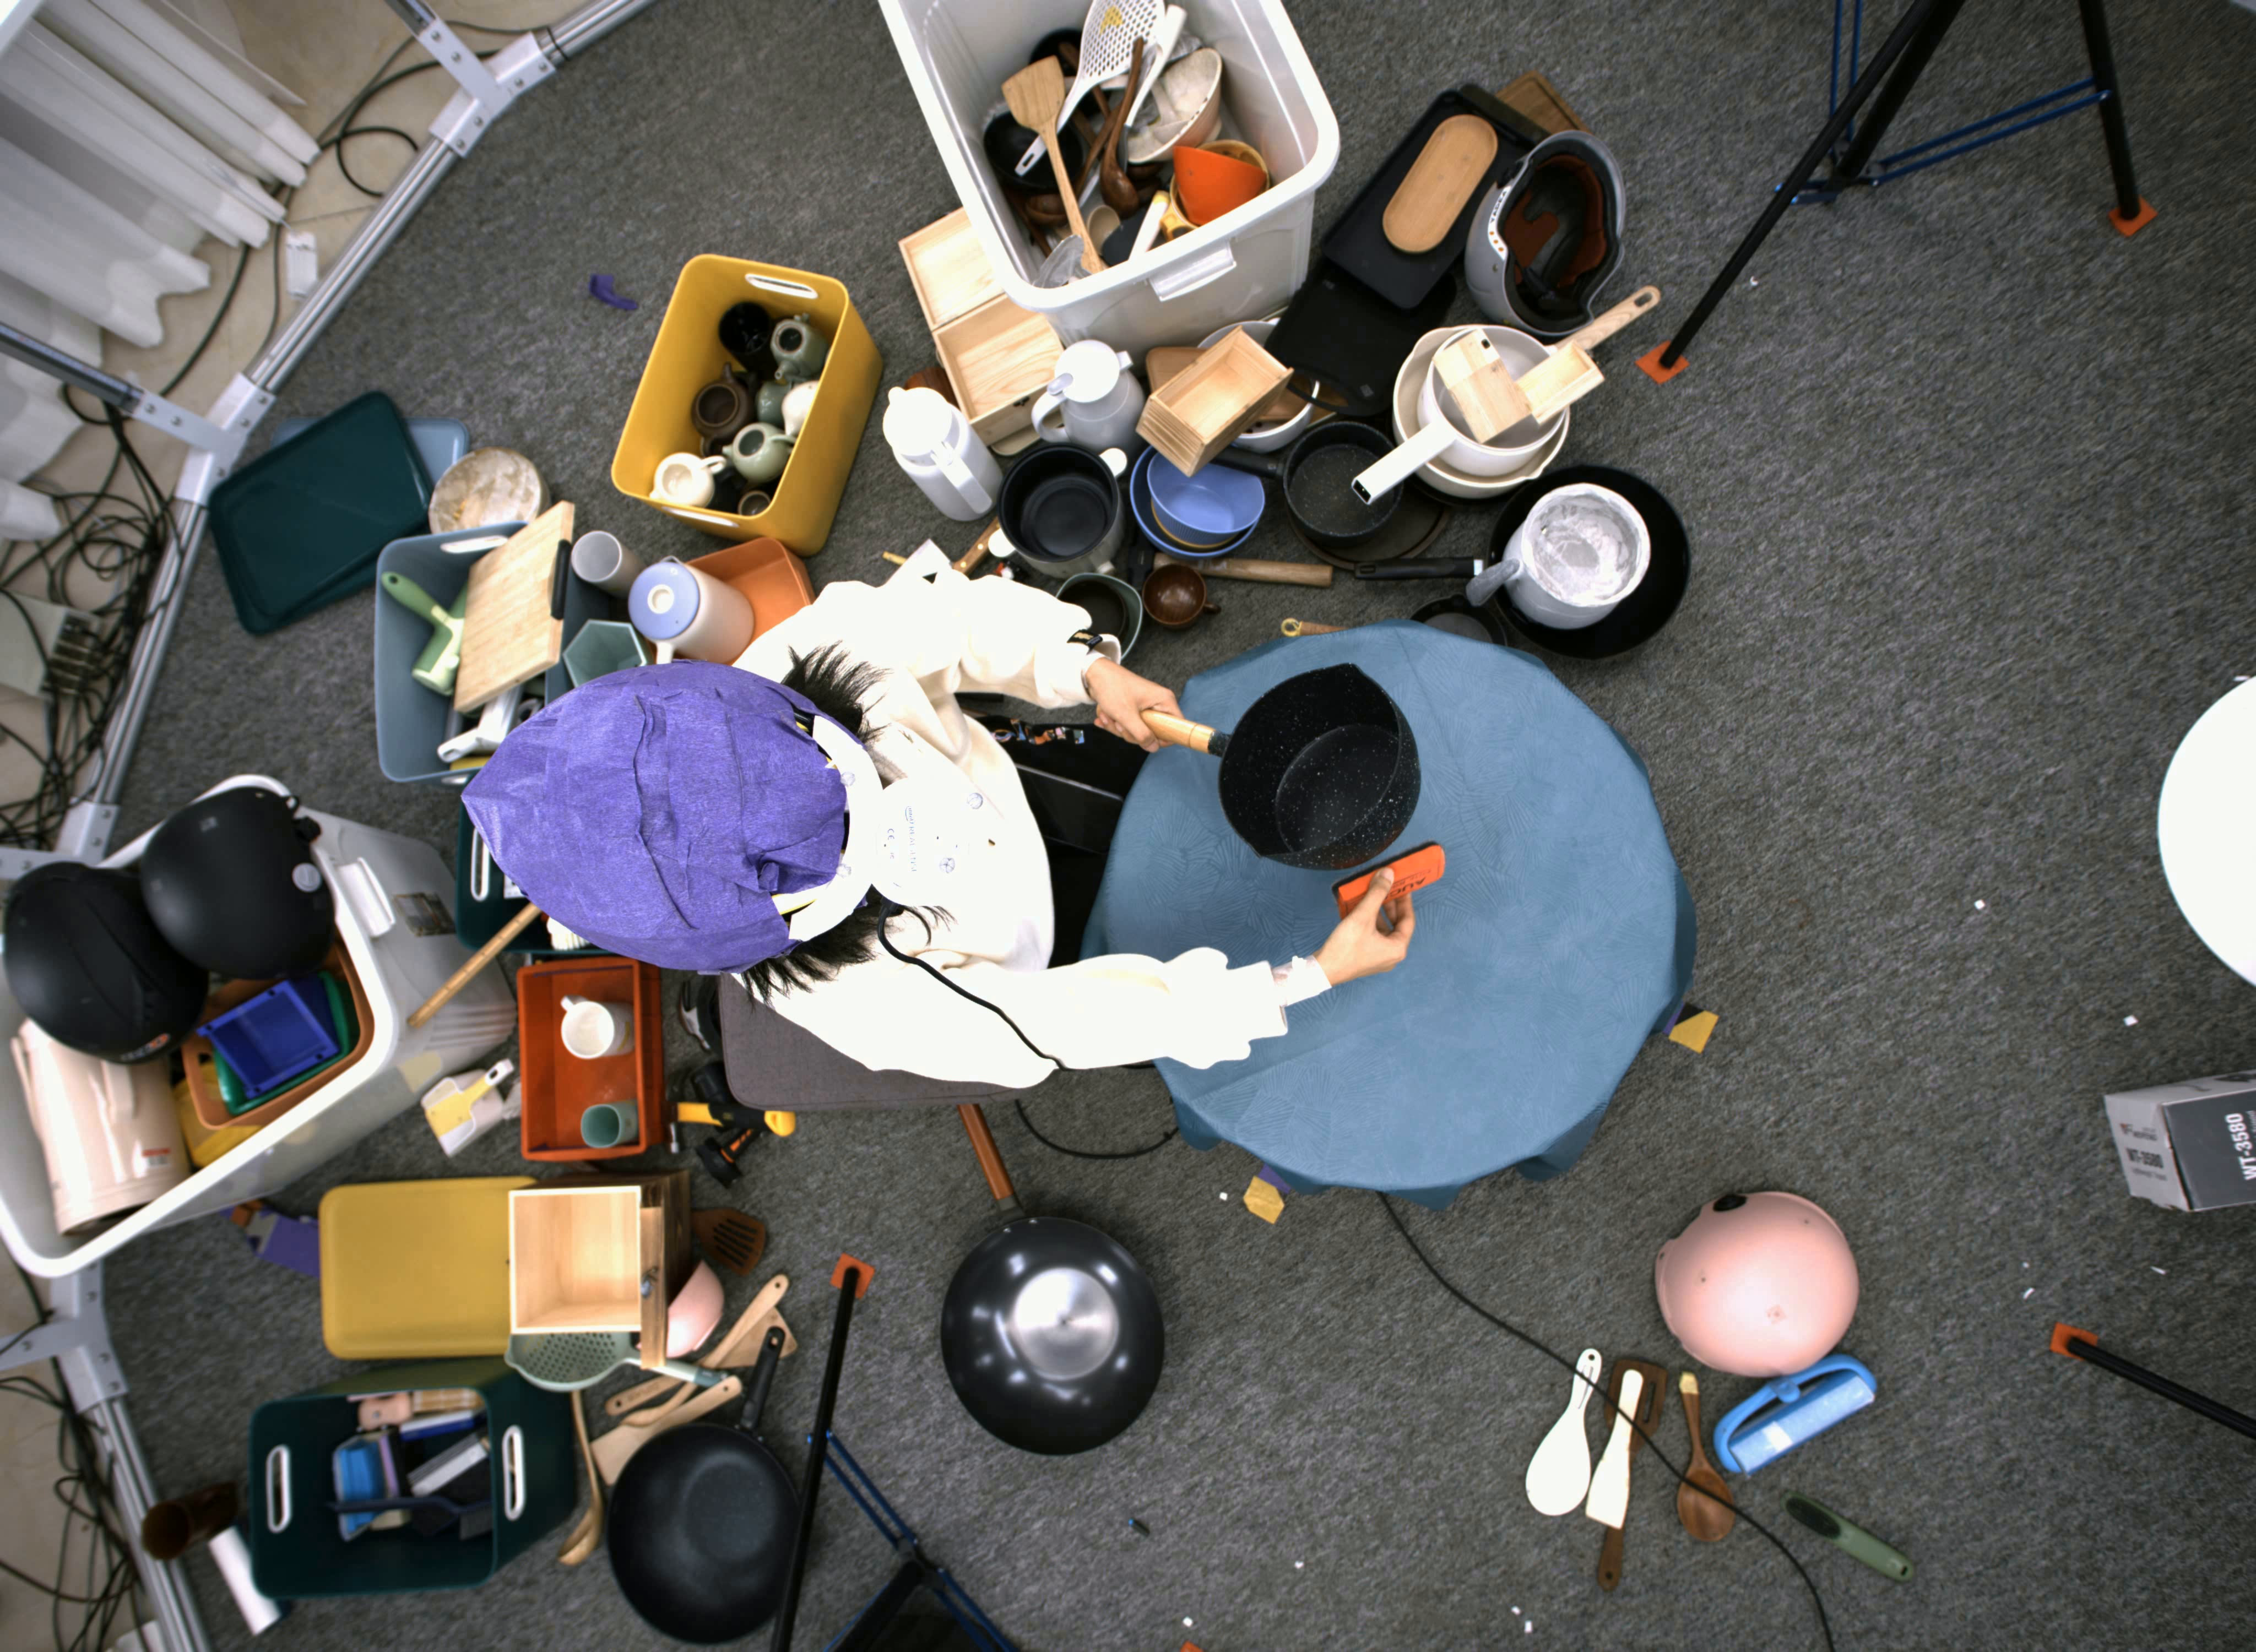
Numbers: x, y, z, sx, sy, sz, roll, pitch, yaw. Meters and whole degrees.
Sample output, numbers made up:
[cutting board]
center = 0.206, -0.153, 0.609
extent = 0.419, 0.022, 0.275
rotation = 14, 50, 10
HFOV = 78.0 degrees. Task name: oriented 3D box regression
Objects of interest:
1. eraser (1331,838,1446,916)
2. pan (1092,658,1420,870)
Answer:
[eraser]
center = 0.245, 0.047, 1.295
extent = 0.108, 0.060, 0.022
rotation = -24, 67, 3
[pan]
center = 0.116, -0.066, 1.309
extent = 0.343, 0.109, 0.206
rotation = 16, 79, 39
